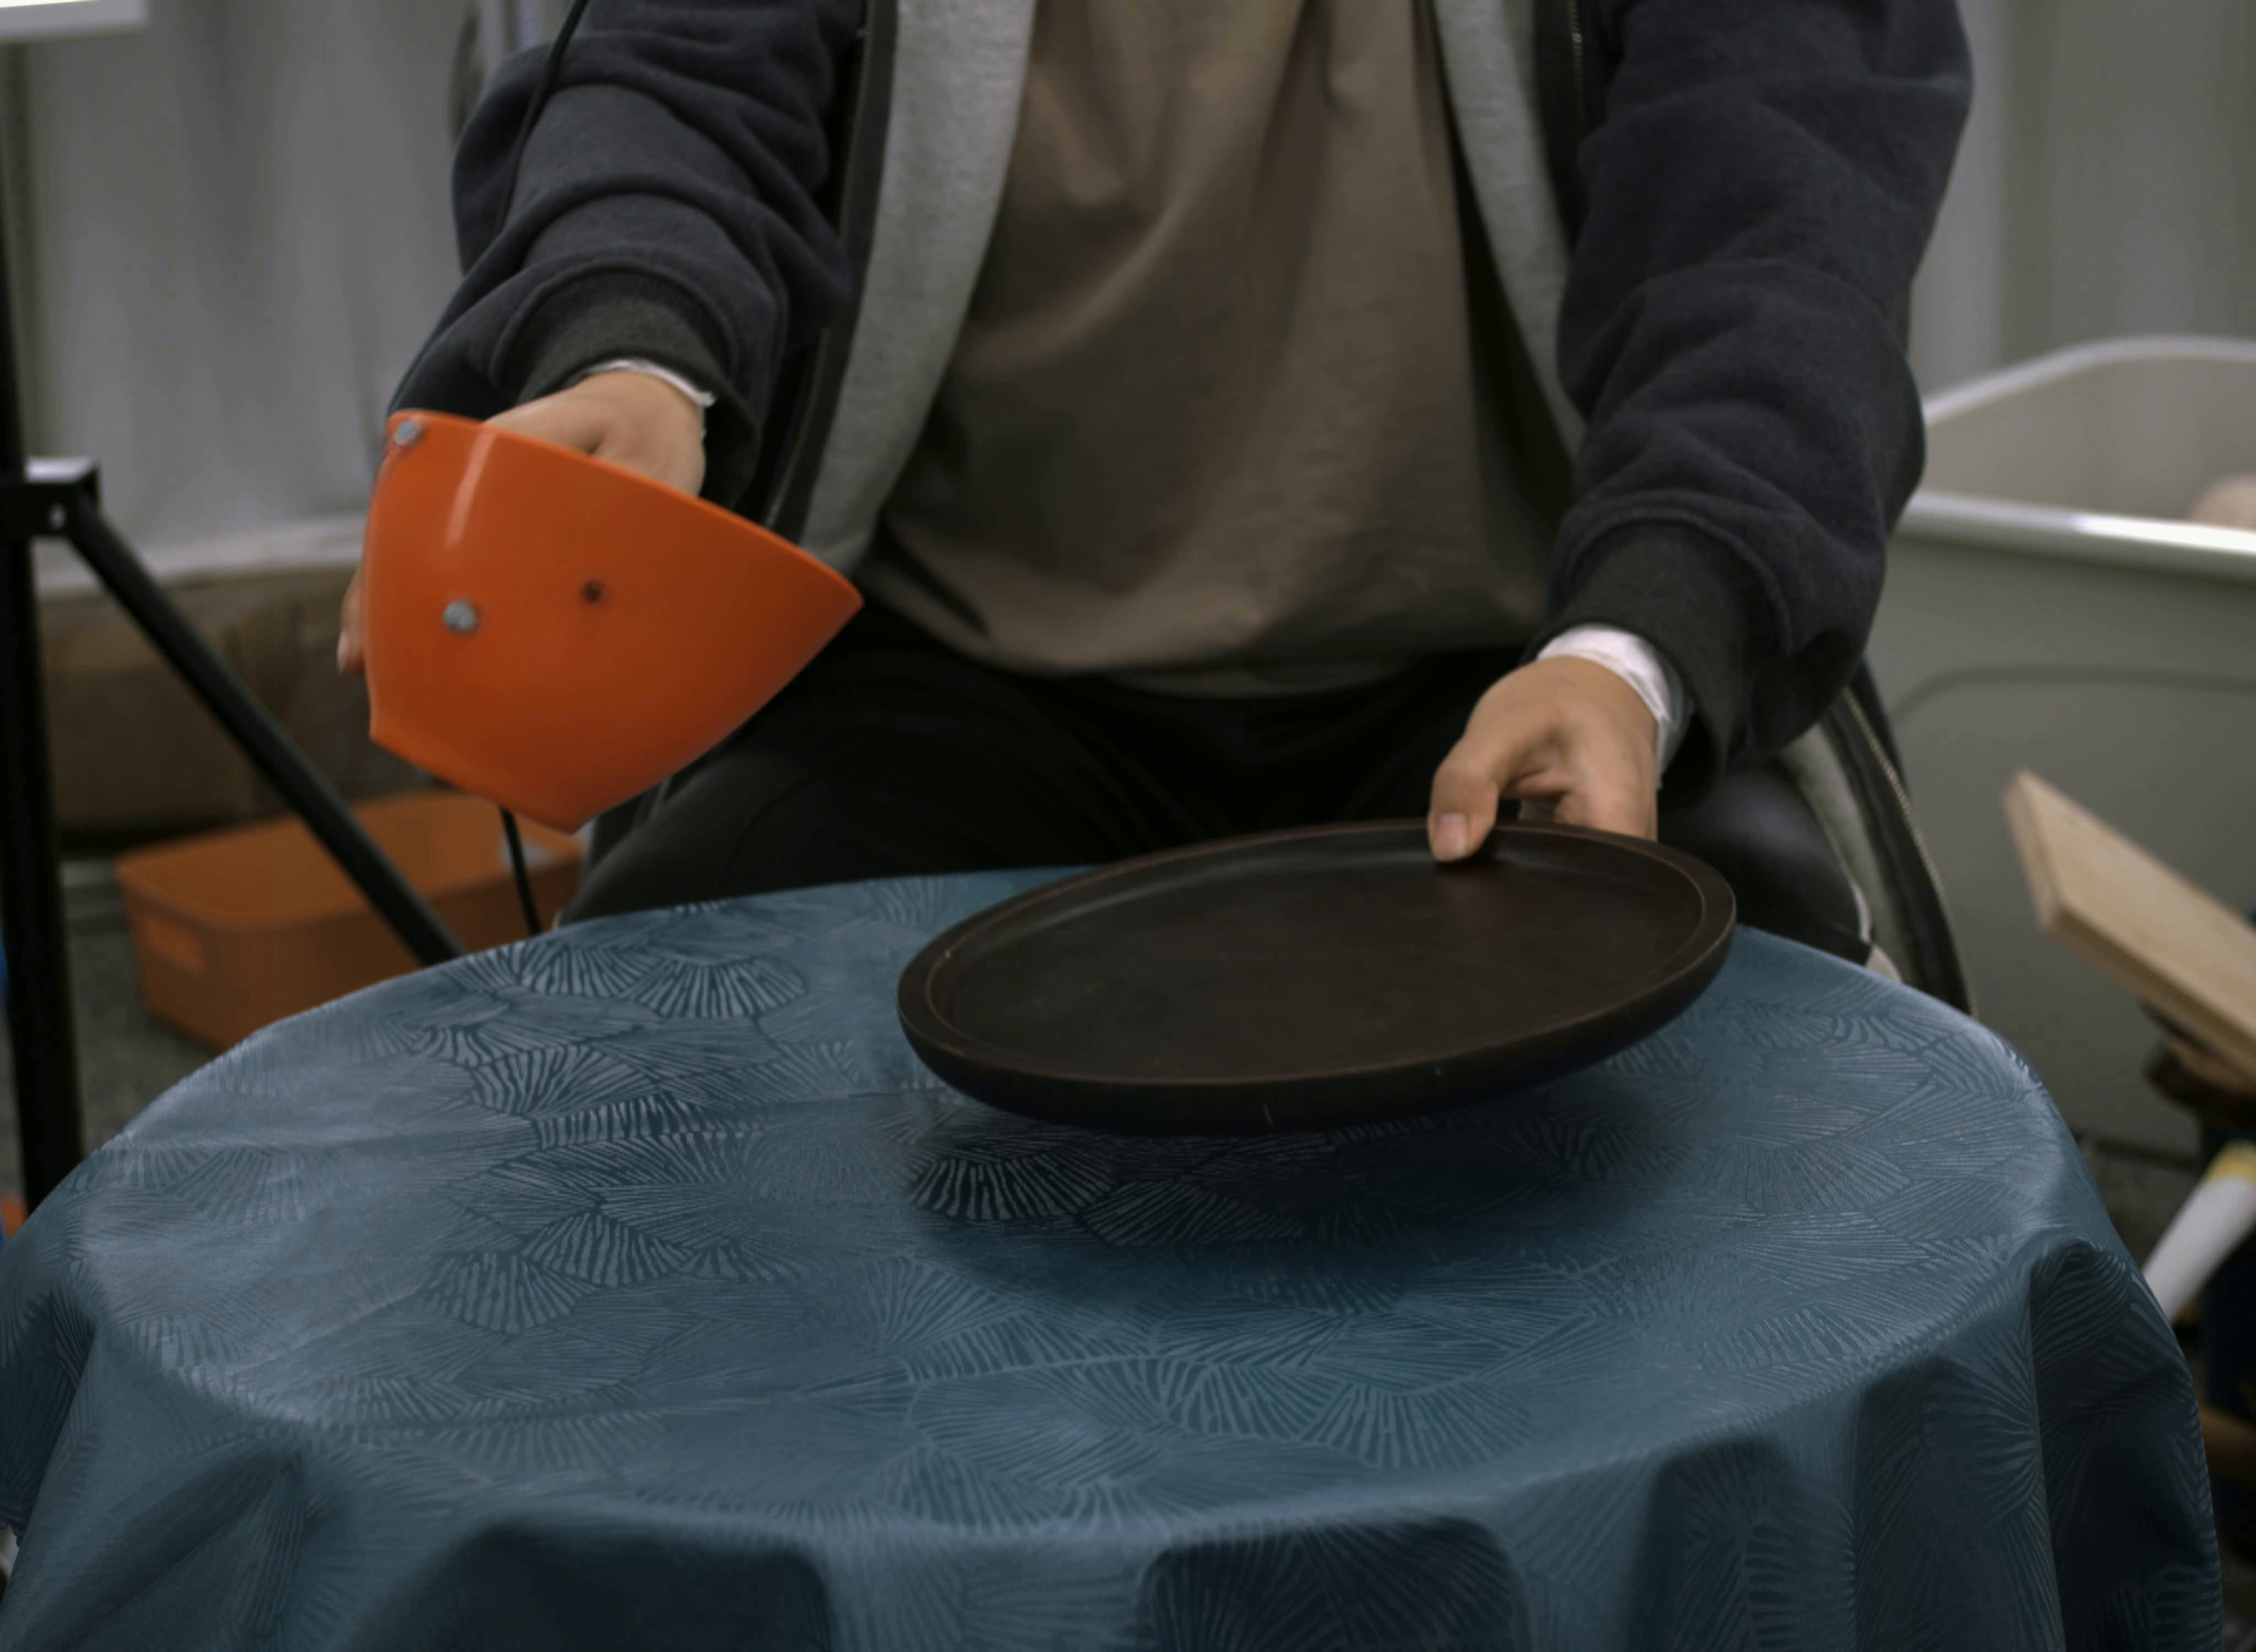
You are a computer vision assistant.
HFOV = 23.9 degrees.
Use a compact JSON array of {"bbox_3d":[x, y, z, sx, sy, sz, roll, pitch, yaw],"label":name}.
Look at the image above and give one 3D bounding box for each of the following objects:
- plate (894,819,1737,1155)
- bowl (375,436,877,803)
[{"bbox_3d":[0.056,0.046,1.586,0.254,0.029,0.256,-9,16,1],"label":"plate"},{"bbox_3d":[-0.155,-0.063,1.564,0.147,0.105,0.149,12,13,-4],"label":"bowl"}]
